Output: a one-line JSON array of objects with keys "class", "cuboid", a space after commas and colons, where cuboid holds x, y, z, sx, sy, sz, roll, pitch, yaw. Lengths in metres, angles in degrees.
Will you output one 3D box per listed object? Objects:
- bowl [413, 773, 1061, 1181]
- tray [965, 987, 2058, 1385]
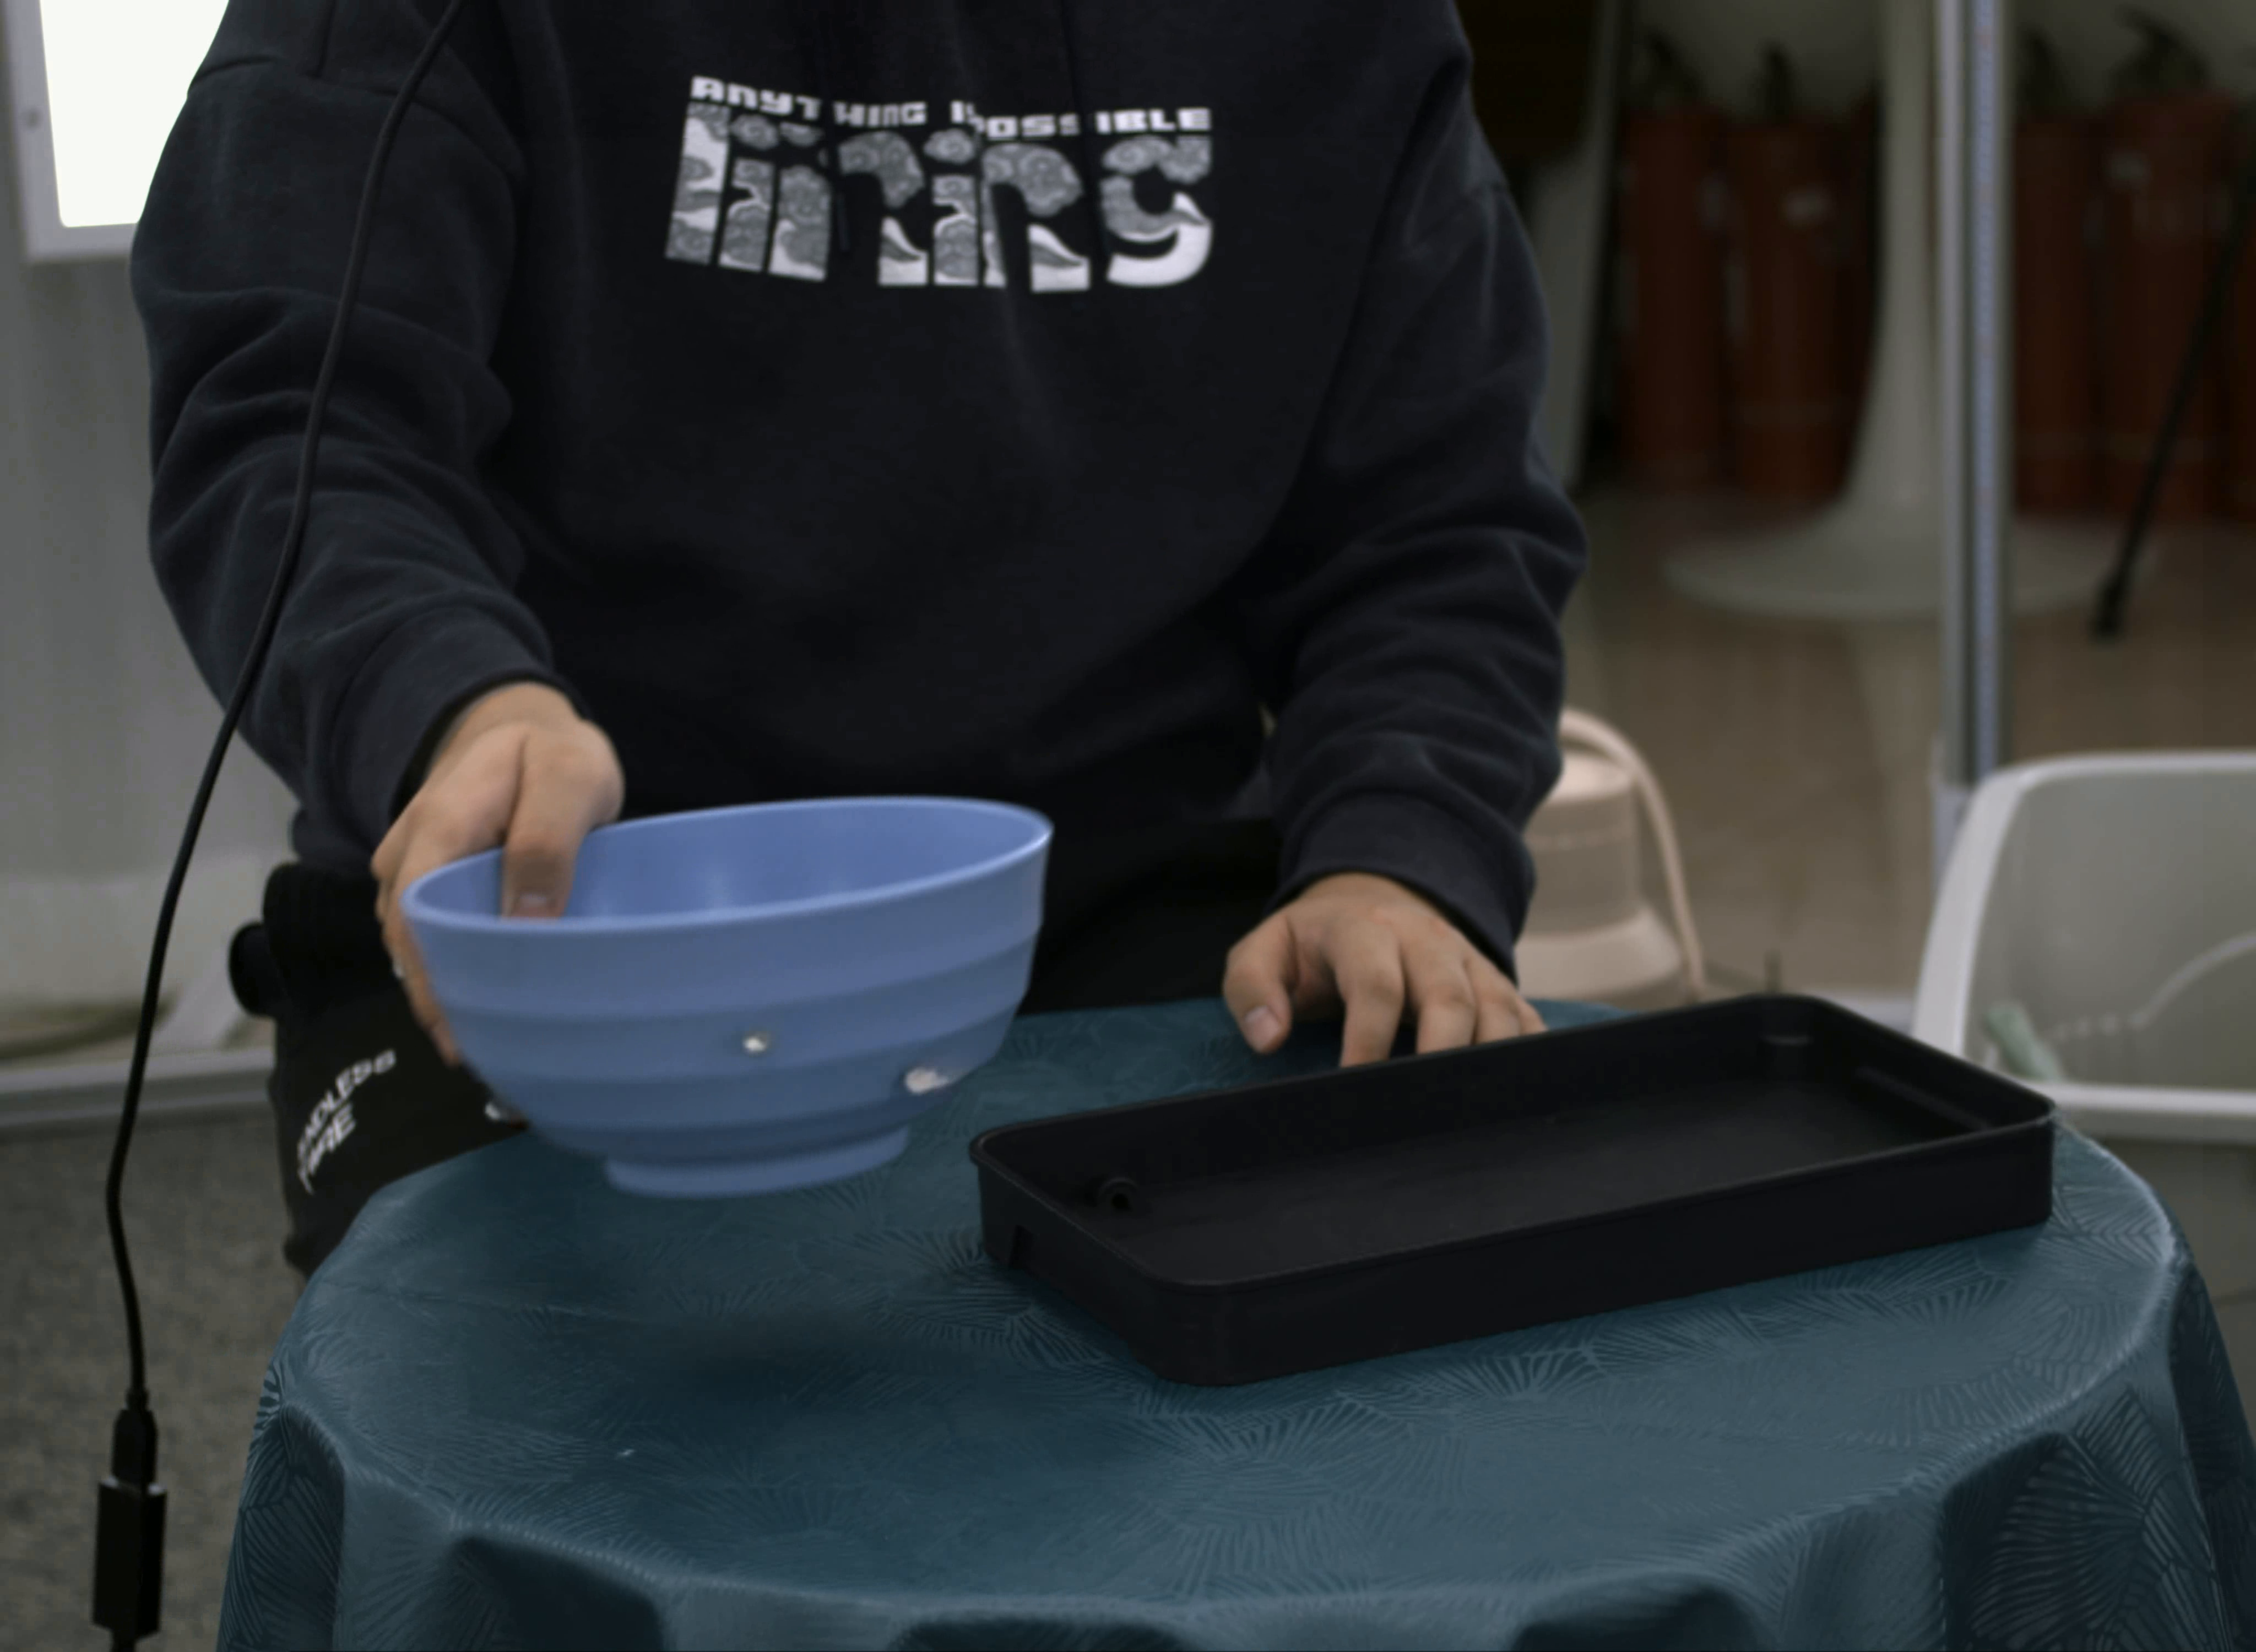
[{"class": "bowl", "cuboid": [-0.111, 0.049, 1.616, 0.194, 0.096, 0.196, -7, 9, 0]}, {"class": "tray", "cuboid": [0.121, 0.110, 1.707, 0.311, 0.037, 0.186, -9, 14, -21]}]
